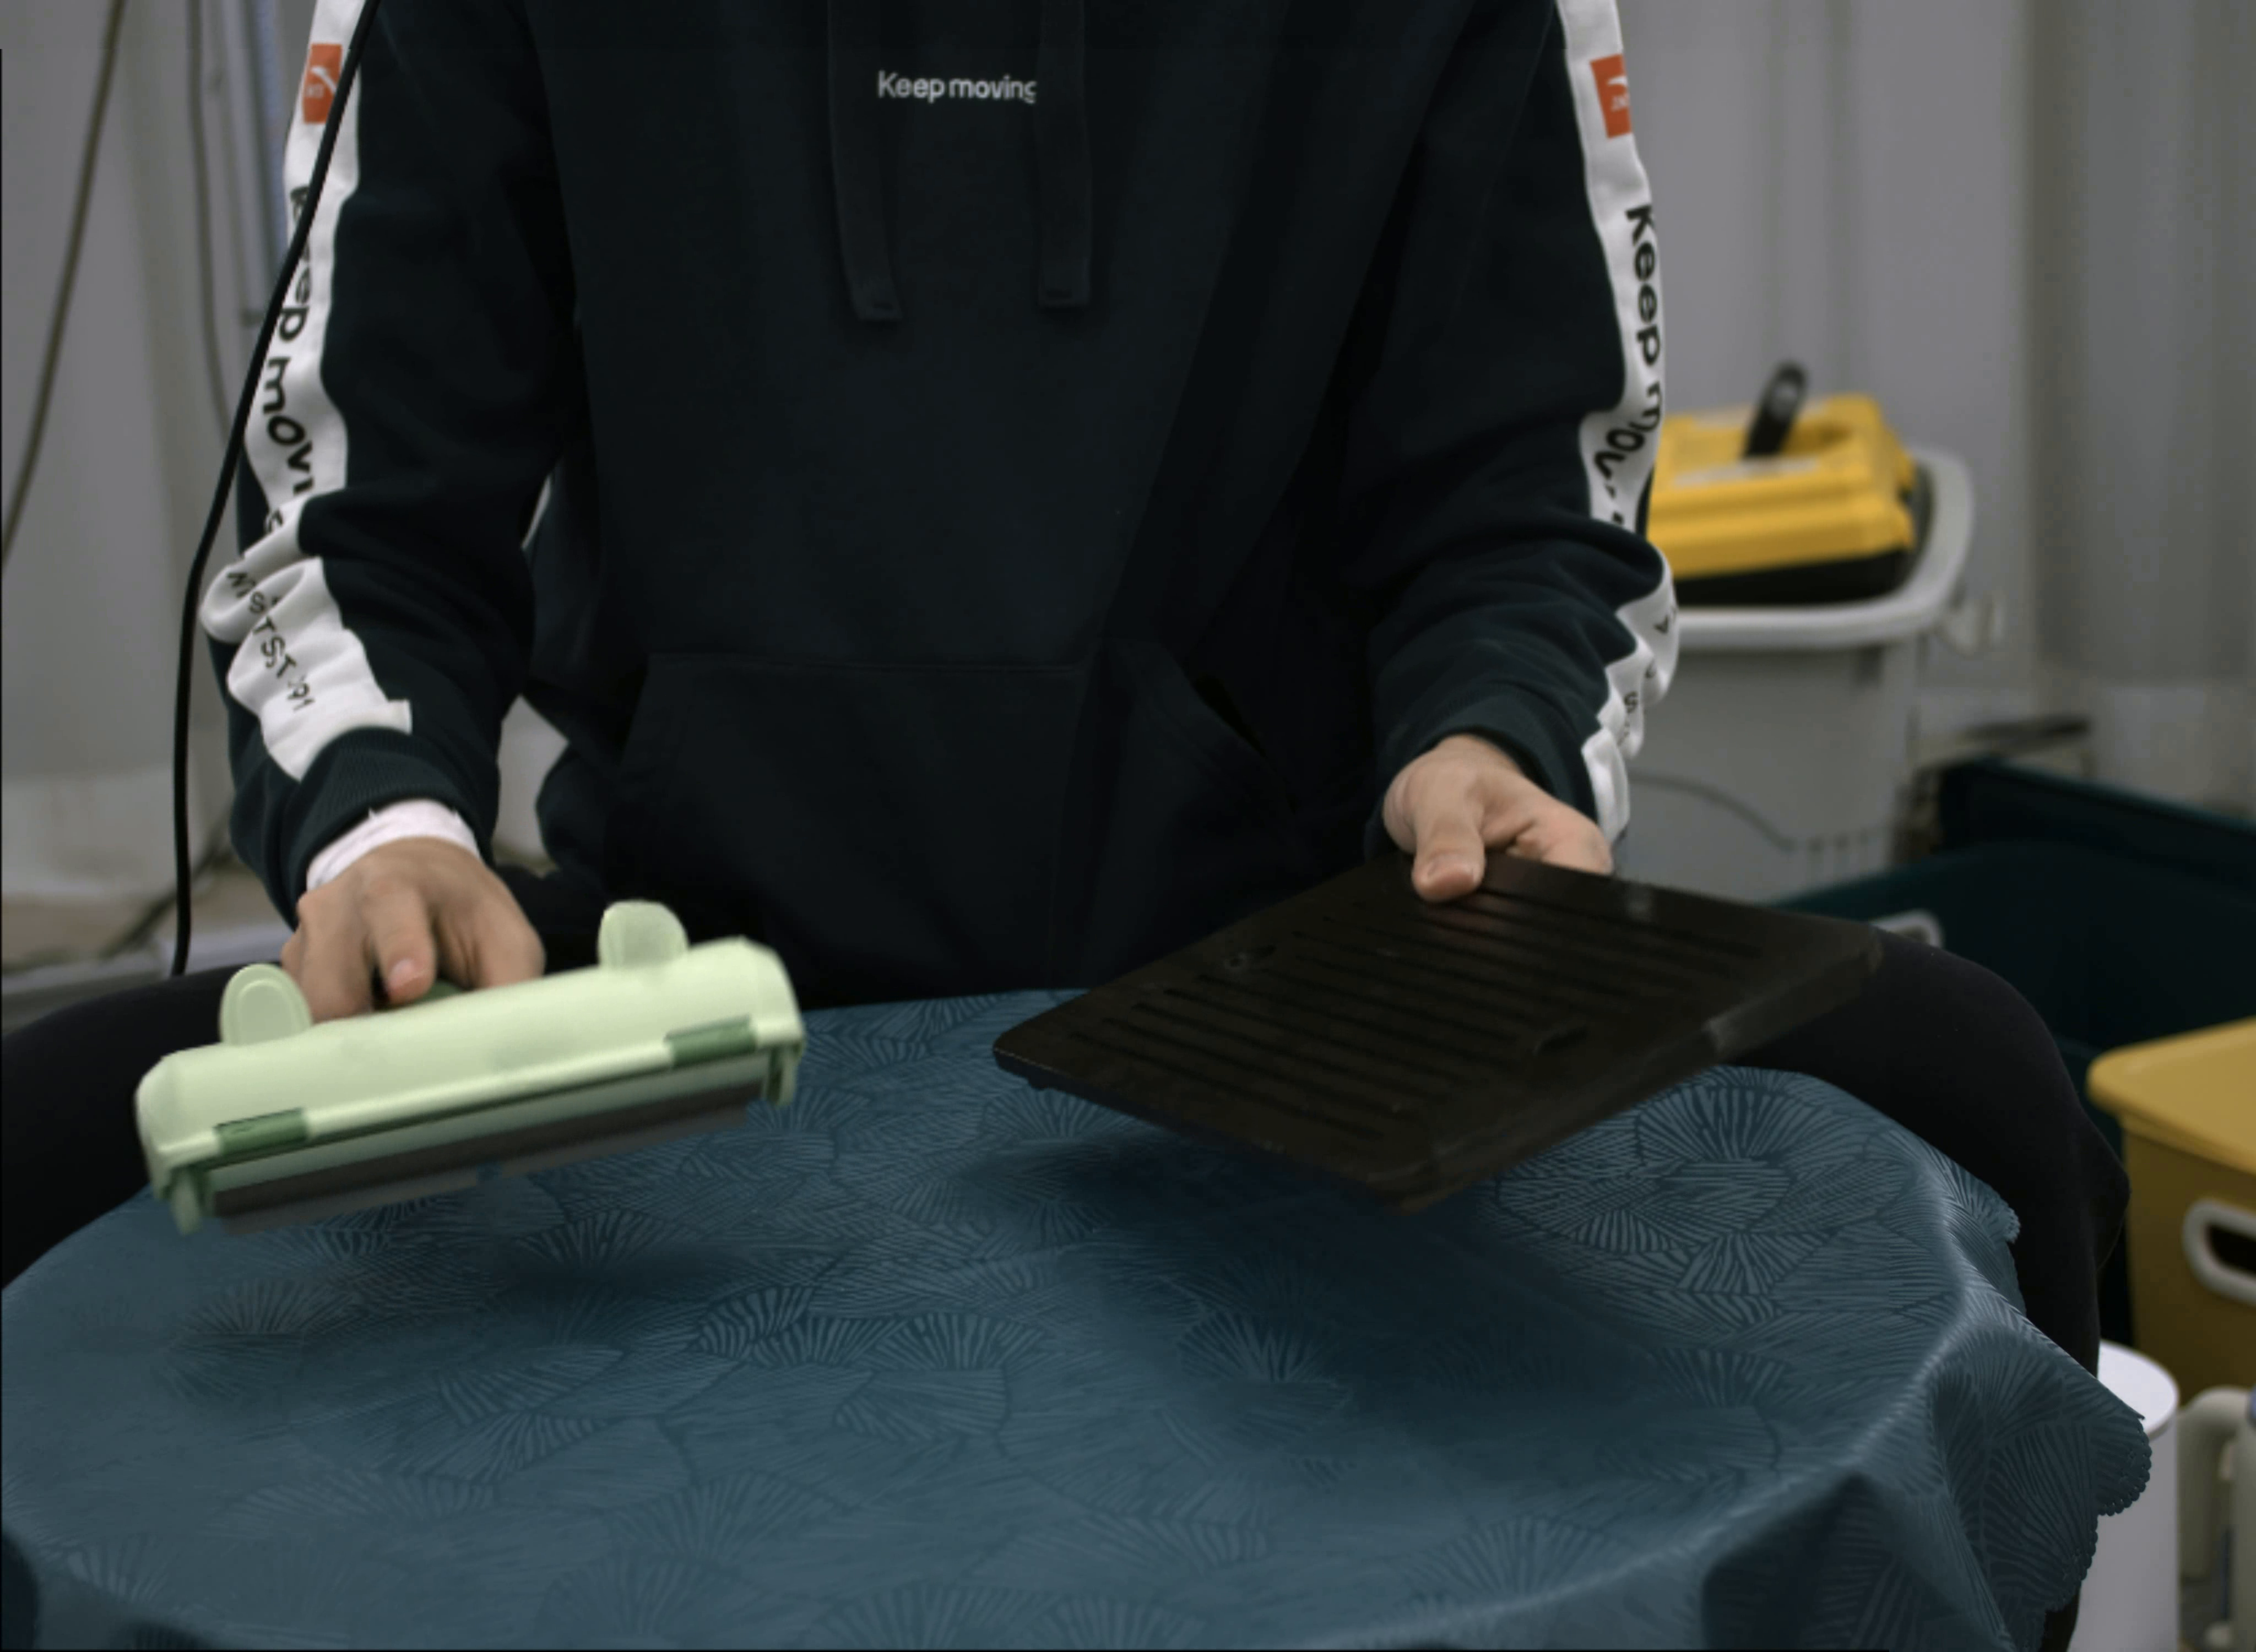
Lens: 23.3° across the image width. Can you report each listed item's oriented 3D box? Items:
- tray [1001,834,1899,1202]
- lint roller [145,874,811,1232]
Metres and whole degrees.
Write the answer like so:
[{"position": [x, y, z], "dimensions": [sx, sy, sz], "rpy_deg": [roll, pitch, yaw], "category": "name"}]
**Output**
[{"position": [0.089, 0.054, 1.635], "dimensions": [0.170, 0.018, 0.307], "rpy_deg": [-25, 13, -19], "category": "tray"}, {"position": [-0.212, 0.053, 1.691], "dimensions": [0.198, 0.081, 0.185], "rpy_deg": [-13, 20, -15], "category": "lint roller"}]
